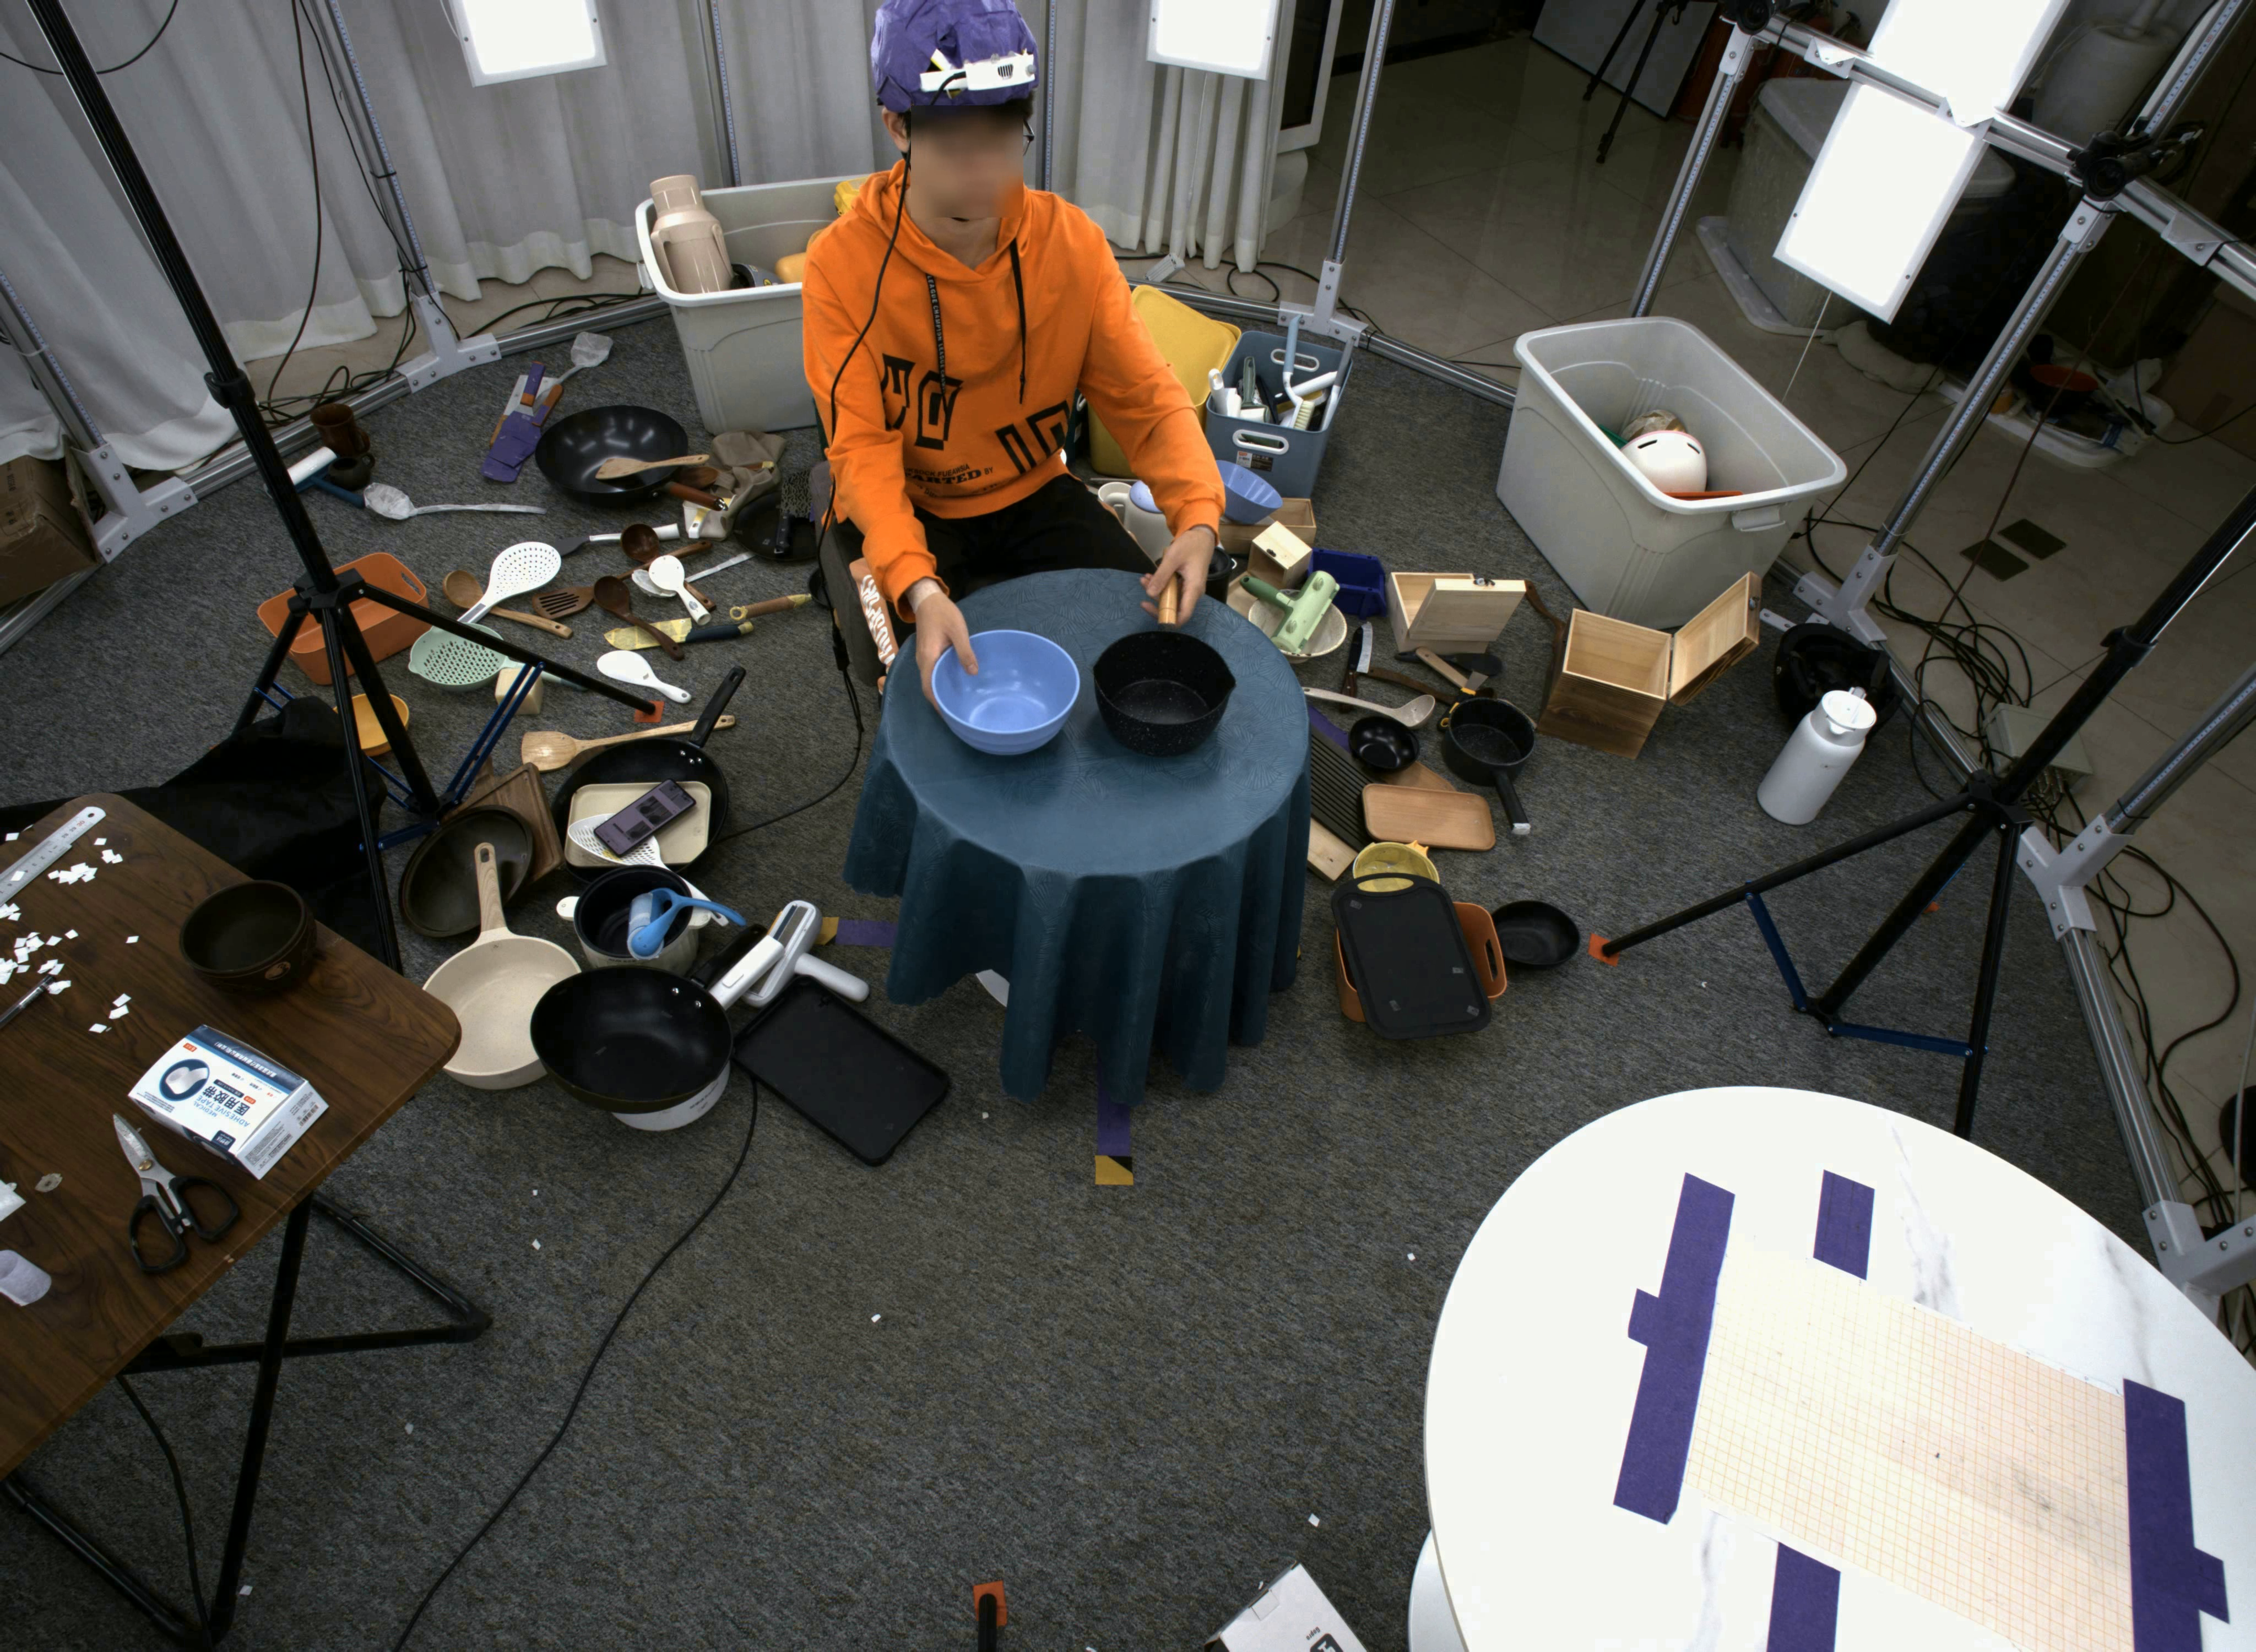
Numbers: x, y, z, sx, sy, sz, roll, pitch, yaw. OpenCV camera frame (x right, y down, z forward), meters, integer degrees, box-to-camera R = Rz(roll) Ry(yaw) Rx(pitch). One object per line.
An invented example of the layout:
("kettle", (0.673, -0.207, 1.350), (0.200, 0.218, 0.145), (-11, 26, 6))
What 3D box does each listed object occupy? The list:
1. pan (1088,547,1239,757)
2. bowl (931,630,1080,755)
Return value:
("pan", (0.050, -0.247, 1.817), (0.207, 0.105, 0.351), (3, 50, 1))
("bowl", (-0.165, -0.166, 1.740), (0.196, 0.093, 0.201), (1, 50, -2))
